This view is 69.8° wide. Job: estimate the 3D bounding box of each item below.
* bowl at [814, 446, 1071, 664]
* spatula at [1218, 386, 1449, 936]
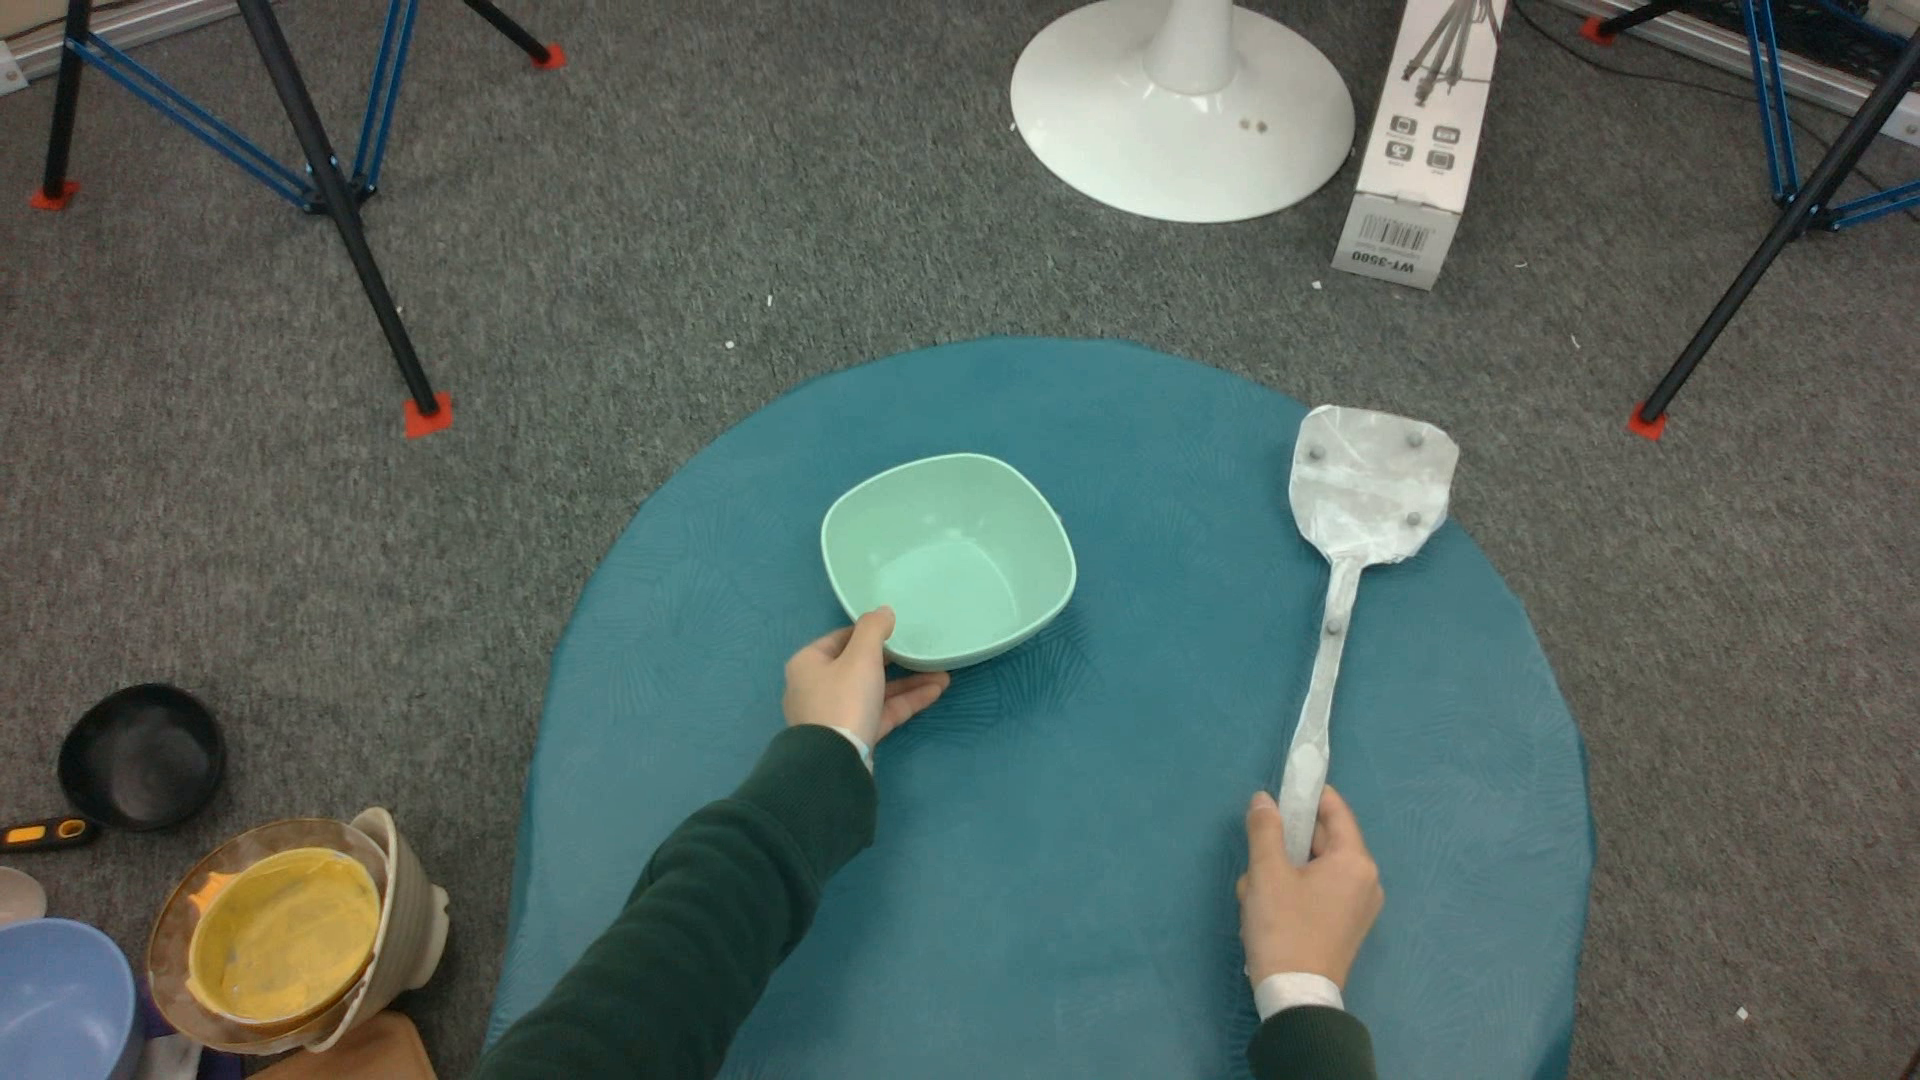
[{"bbox_3d":[-0.011,0.018,0.811,0.151,0.058,0.152,1,53,-1],"label":"bowl"},{"bbox_3d":[0.206,0.058,0.796,0.098,0.044,0.367,17,56,11],"label":"spatula"}]
